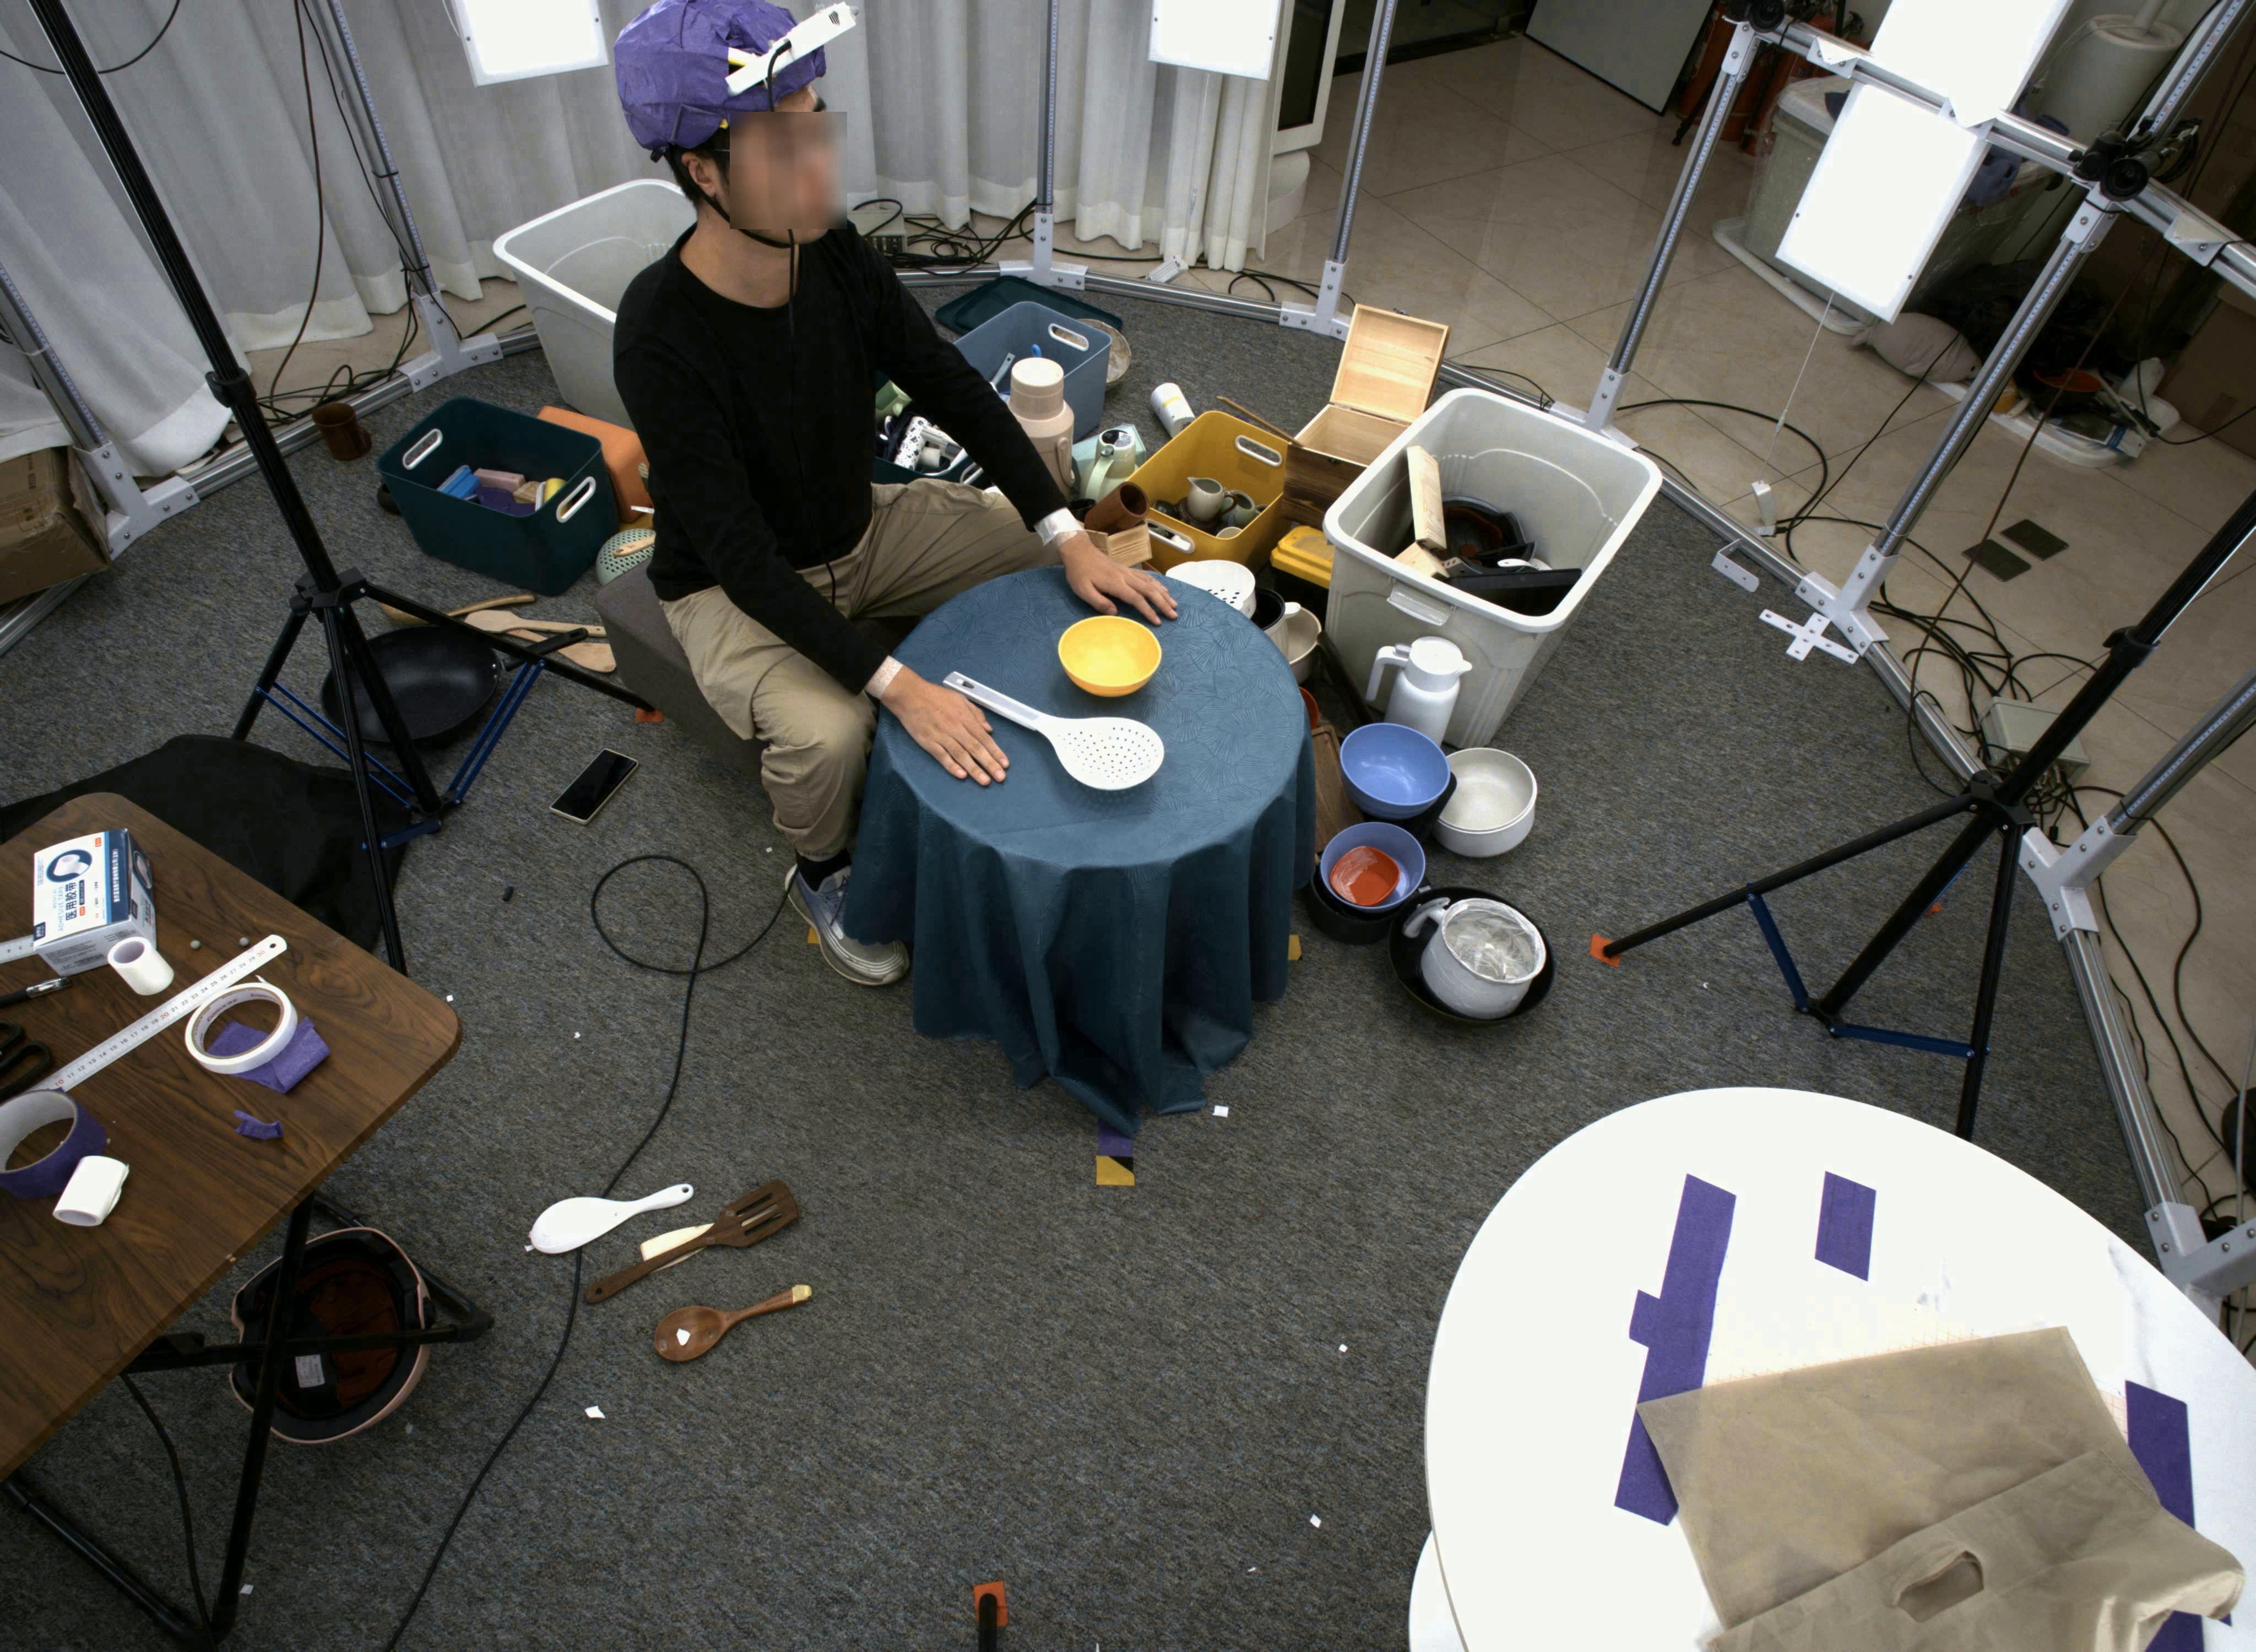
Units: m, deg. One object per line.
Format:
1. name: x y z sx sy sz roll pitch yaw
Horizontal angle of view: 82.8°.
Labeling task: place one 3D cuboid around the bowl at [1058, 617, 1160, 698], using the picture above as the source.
1. bowl: -0.029 -0.228 1.830 0.145 0.058 0.149 3 48 -4

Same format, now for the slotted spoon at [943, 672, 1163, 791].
1. slotted spoon: -0.111 -0.137 1.751 0.353 0.044 0.138 29 53 21
